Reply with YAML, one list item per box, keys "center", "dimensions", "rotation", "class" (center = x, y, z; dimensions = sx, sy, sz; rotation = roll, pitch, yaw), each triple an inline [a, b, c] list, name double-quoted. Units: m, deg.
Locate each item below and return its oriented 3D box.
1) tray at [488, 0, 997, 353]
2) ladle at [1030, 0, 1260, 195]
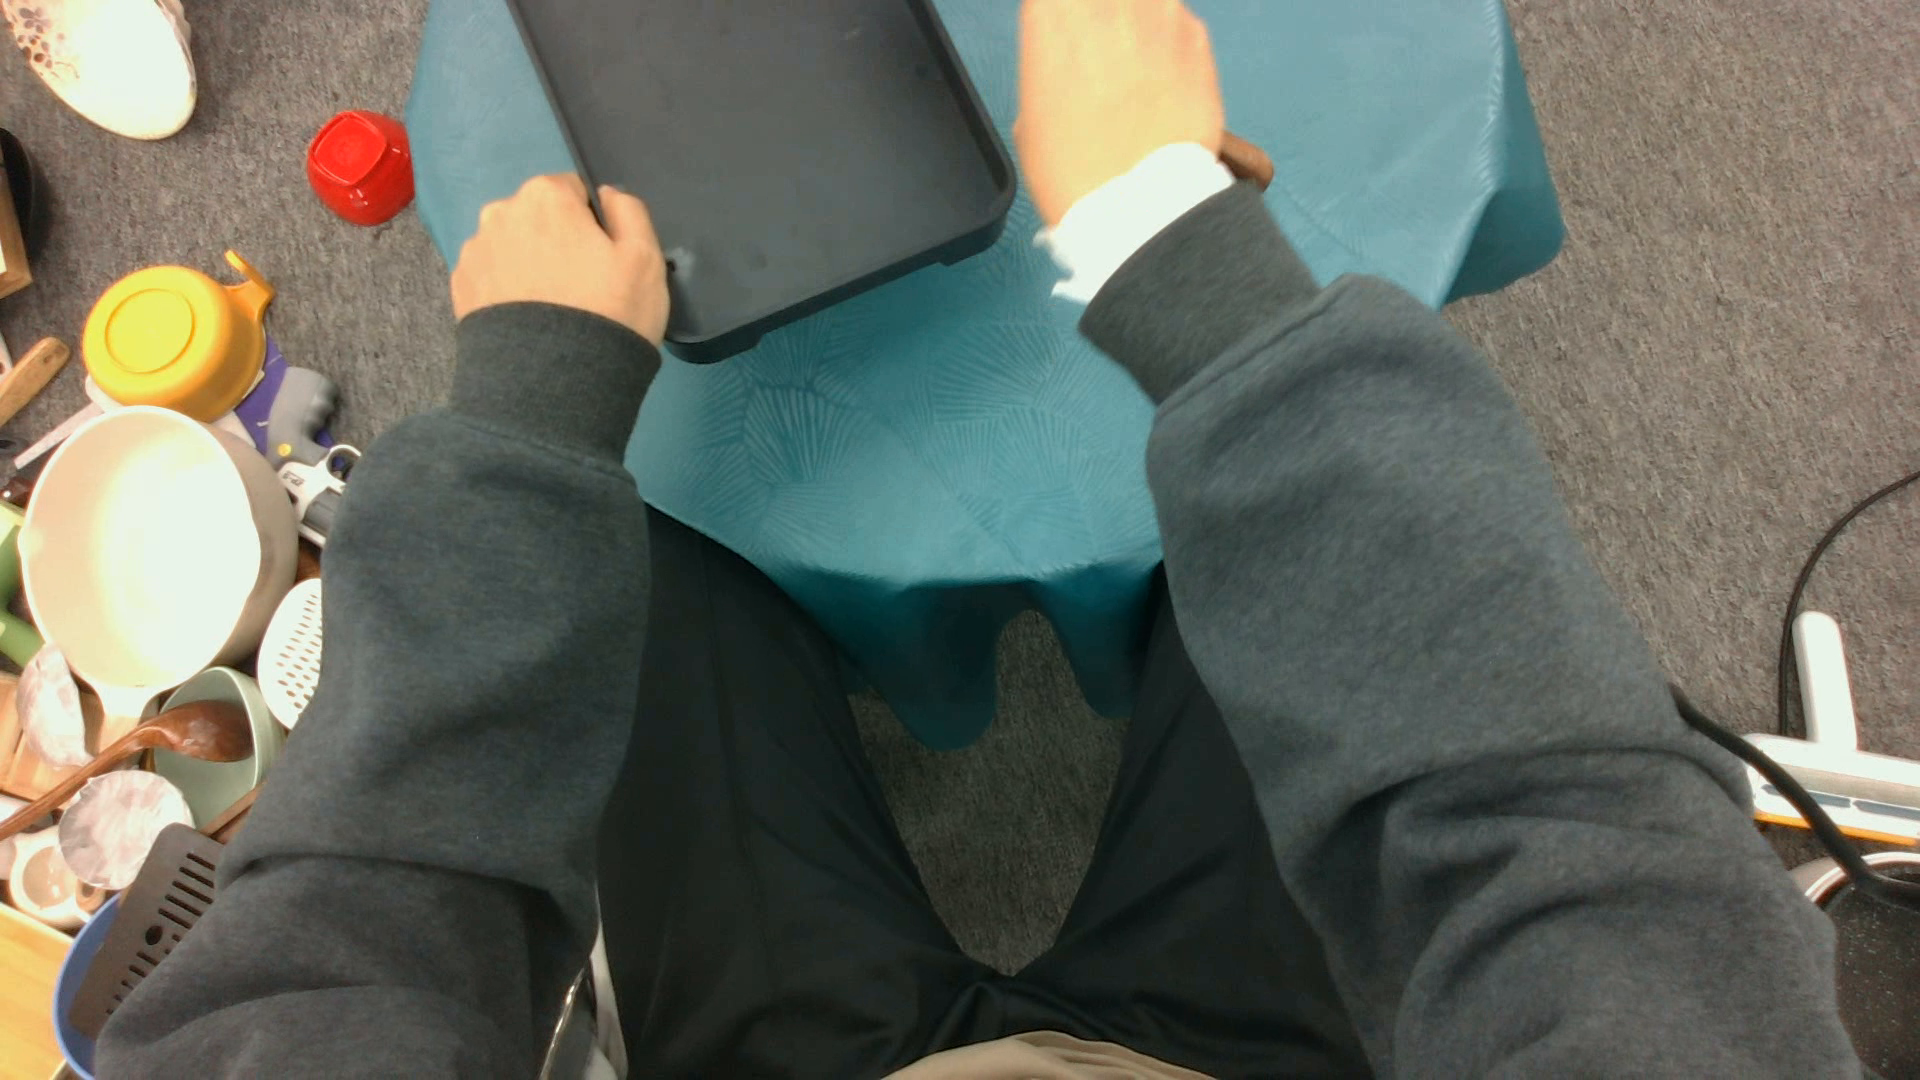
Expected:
- center: [-0.126, -0.256, 0.665]
  dimensions: [0.184, 0.037, 0.318]
  rotation: [-24, 77, -8]
  class: "tray"
- center: [0.019, -0.230, 0.567]
  dimensions: [0.065, 0.076, 0.260]
  rotation: [-39, 87, -22]
  class: "ladle"
